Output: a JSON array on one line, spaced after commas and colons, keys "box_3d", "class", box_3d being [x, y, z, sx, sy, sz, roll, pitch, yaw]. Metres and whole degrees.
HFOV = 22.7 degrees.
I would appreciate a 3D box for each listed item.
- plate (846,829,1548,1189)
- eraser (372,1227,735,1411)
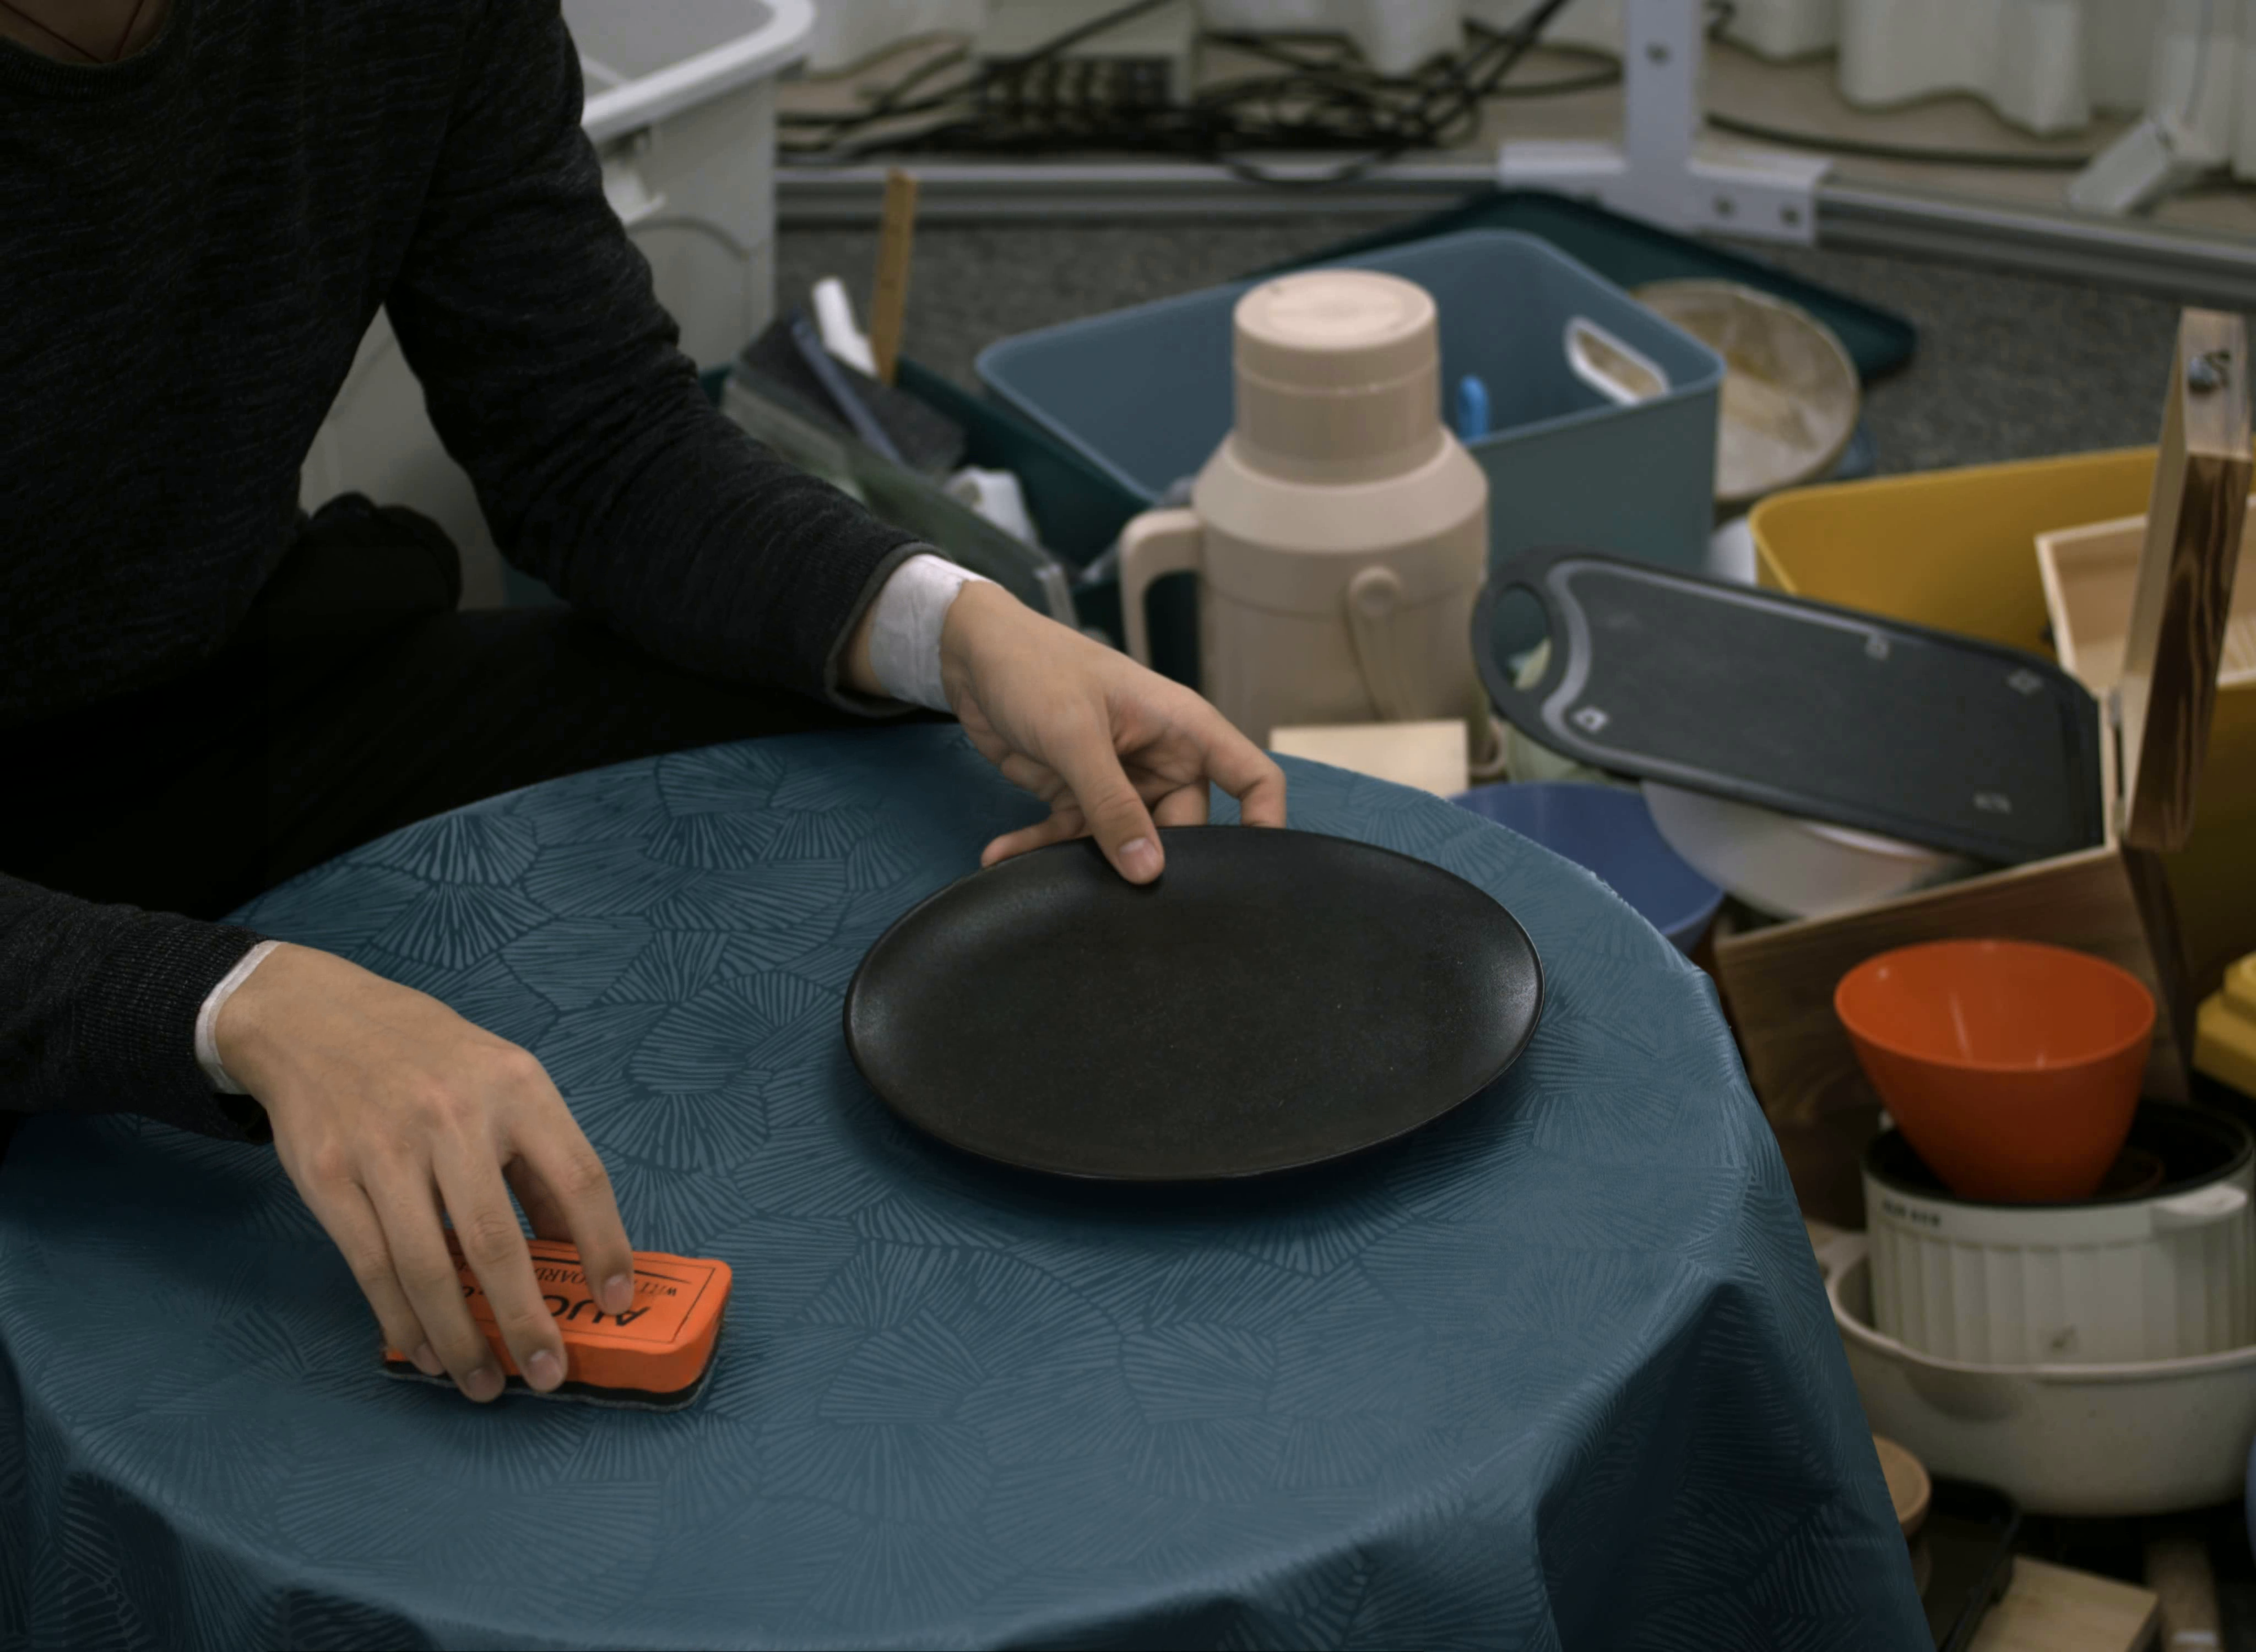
[{"box_3d": [0.024, 0.066, 1.940, 0.243, 0.023, 0.248, -2, 28, 2], "class": "plate"}, {"box_3d": [-0.182, 0.157, 1.784, 0.107, 0.022, 0.060, 6, 27, 16], "class": "eraser"}]
